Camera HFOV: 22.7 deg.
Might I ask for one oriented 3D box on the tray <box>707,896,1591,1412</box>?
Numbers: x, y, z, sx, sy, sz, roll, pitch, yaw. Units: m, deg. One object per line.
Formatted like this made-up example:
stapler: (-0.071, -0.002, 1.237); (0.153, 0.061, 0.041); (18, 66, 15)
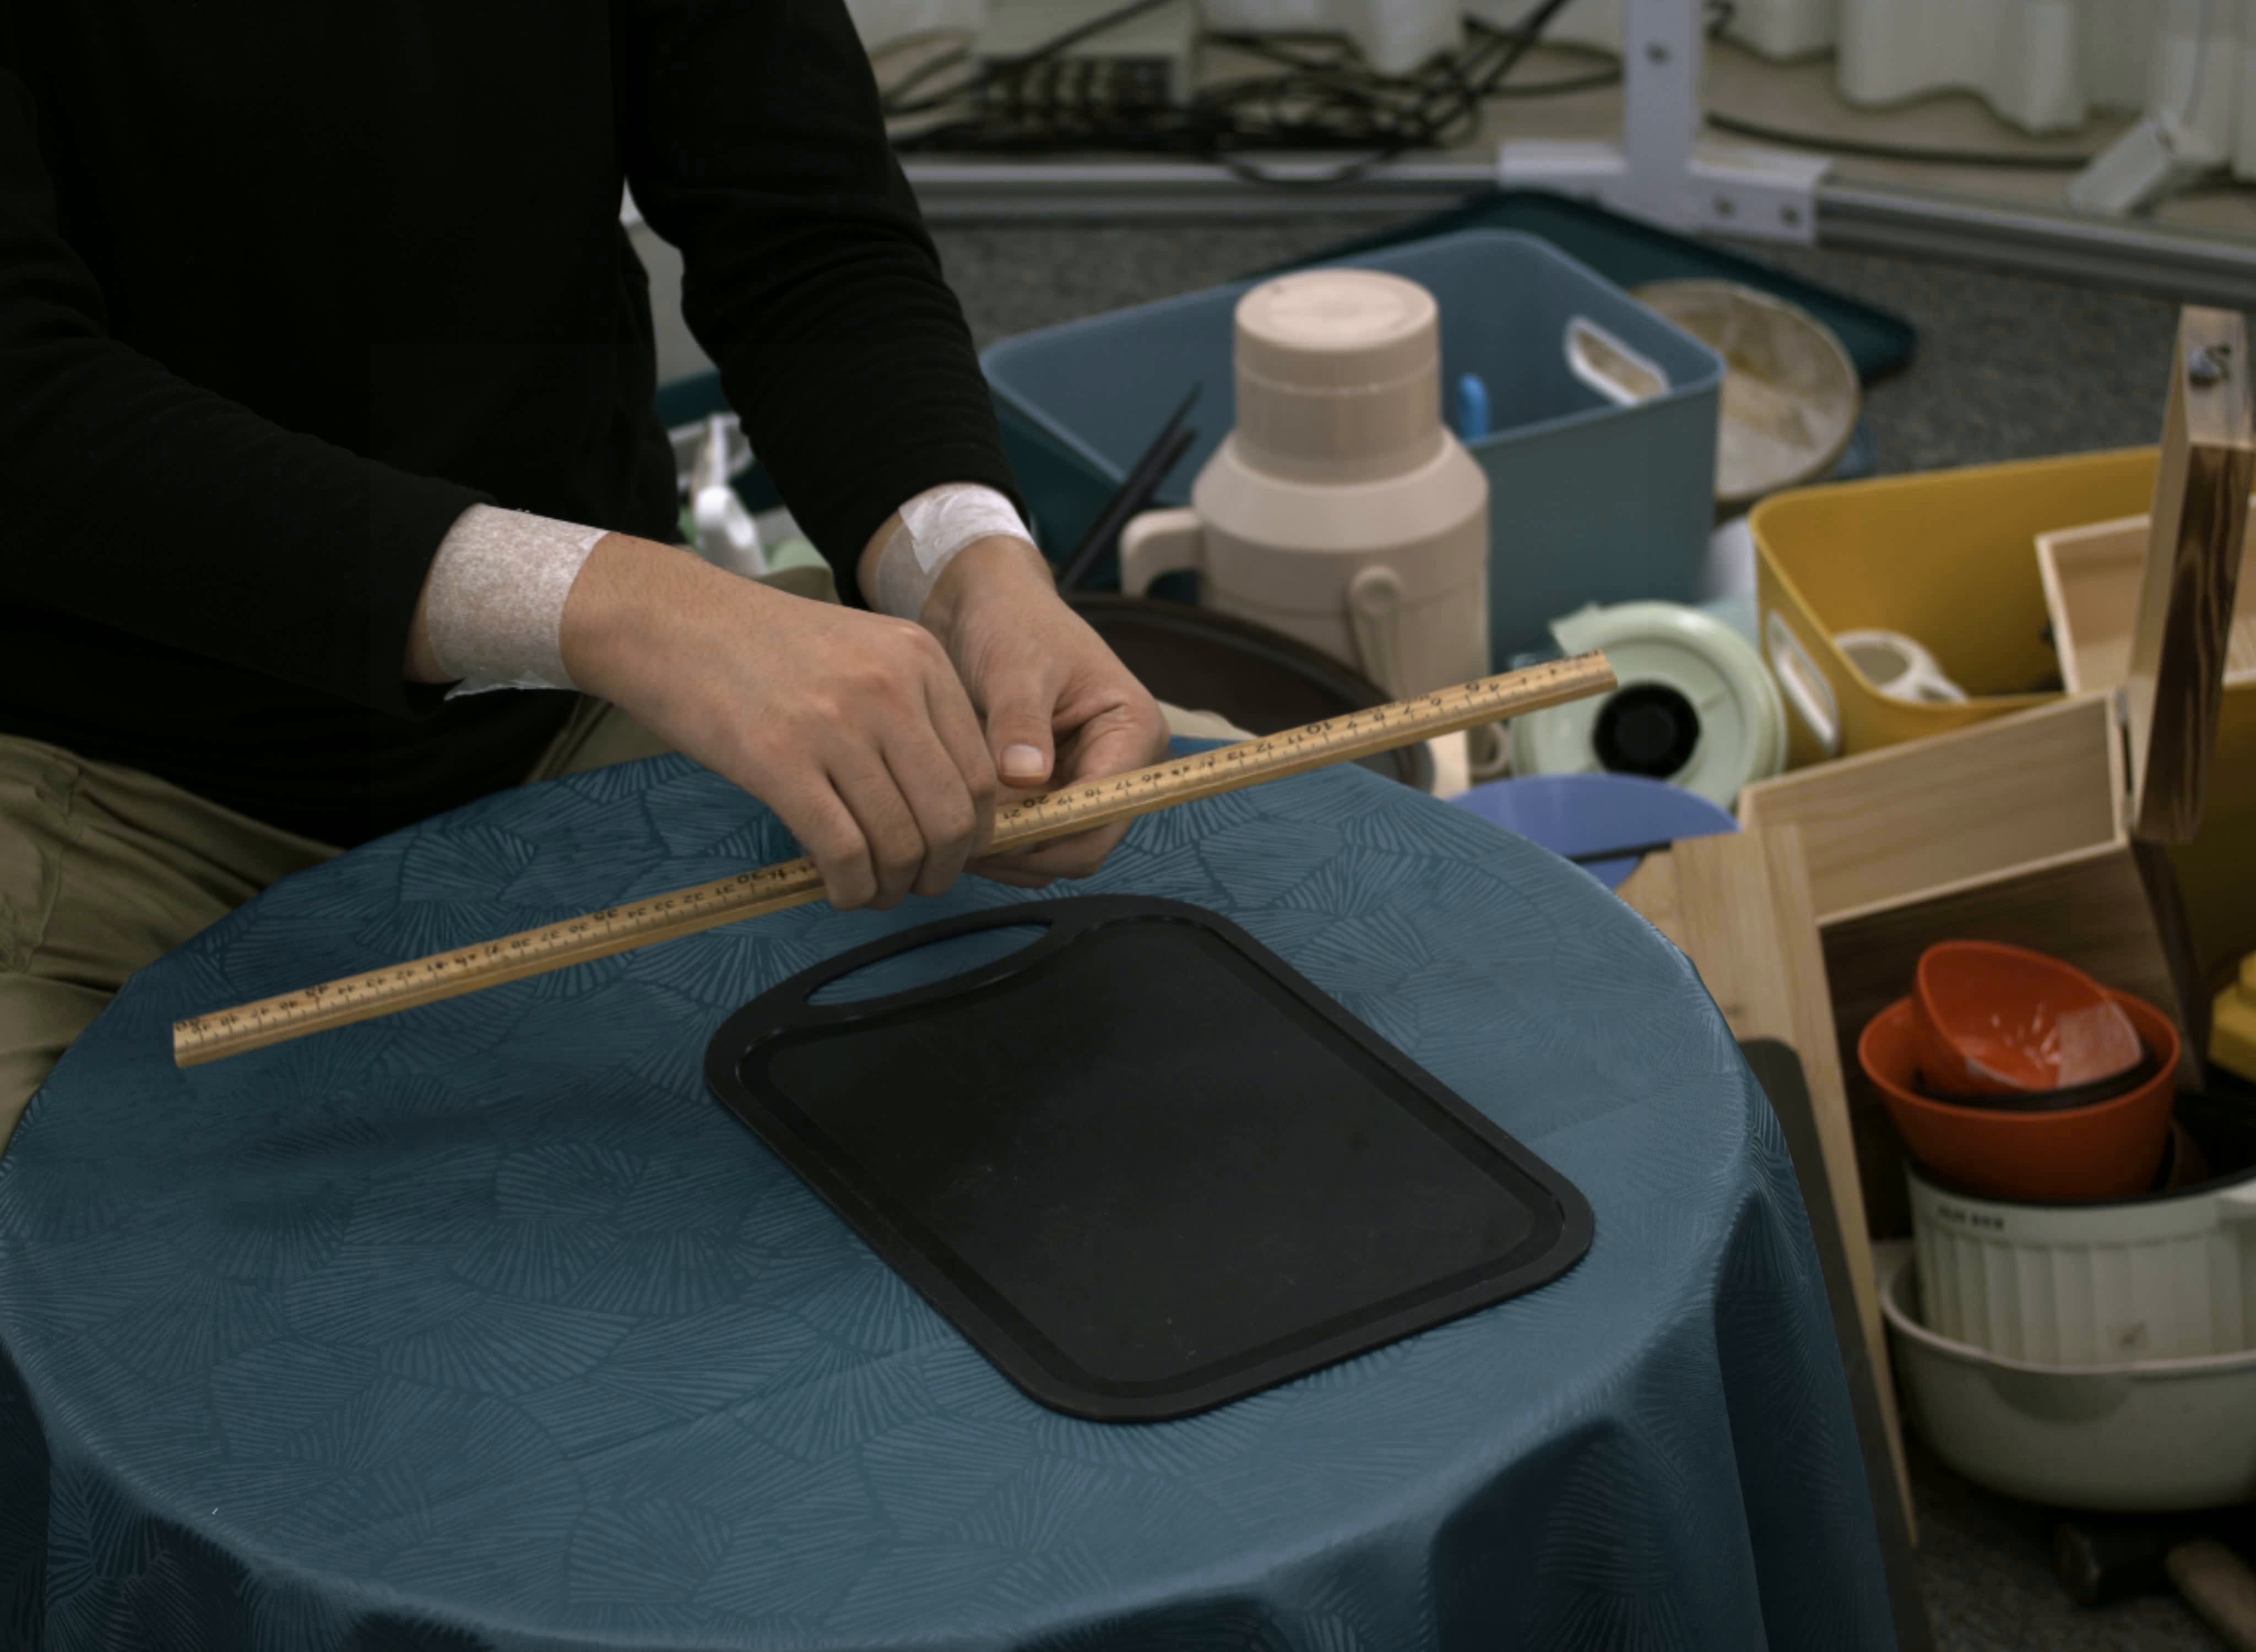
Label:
tray: (-0.003, 0.100, 1.894); (0.212, 0.009, 0.327); (-17, 30, -25)

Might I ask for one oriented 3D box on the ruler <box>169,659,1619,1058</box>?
ruler: (-0.078, 0.010, 1.888); (0.499, 0.006, 0.027); (-14, 25, -3)
